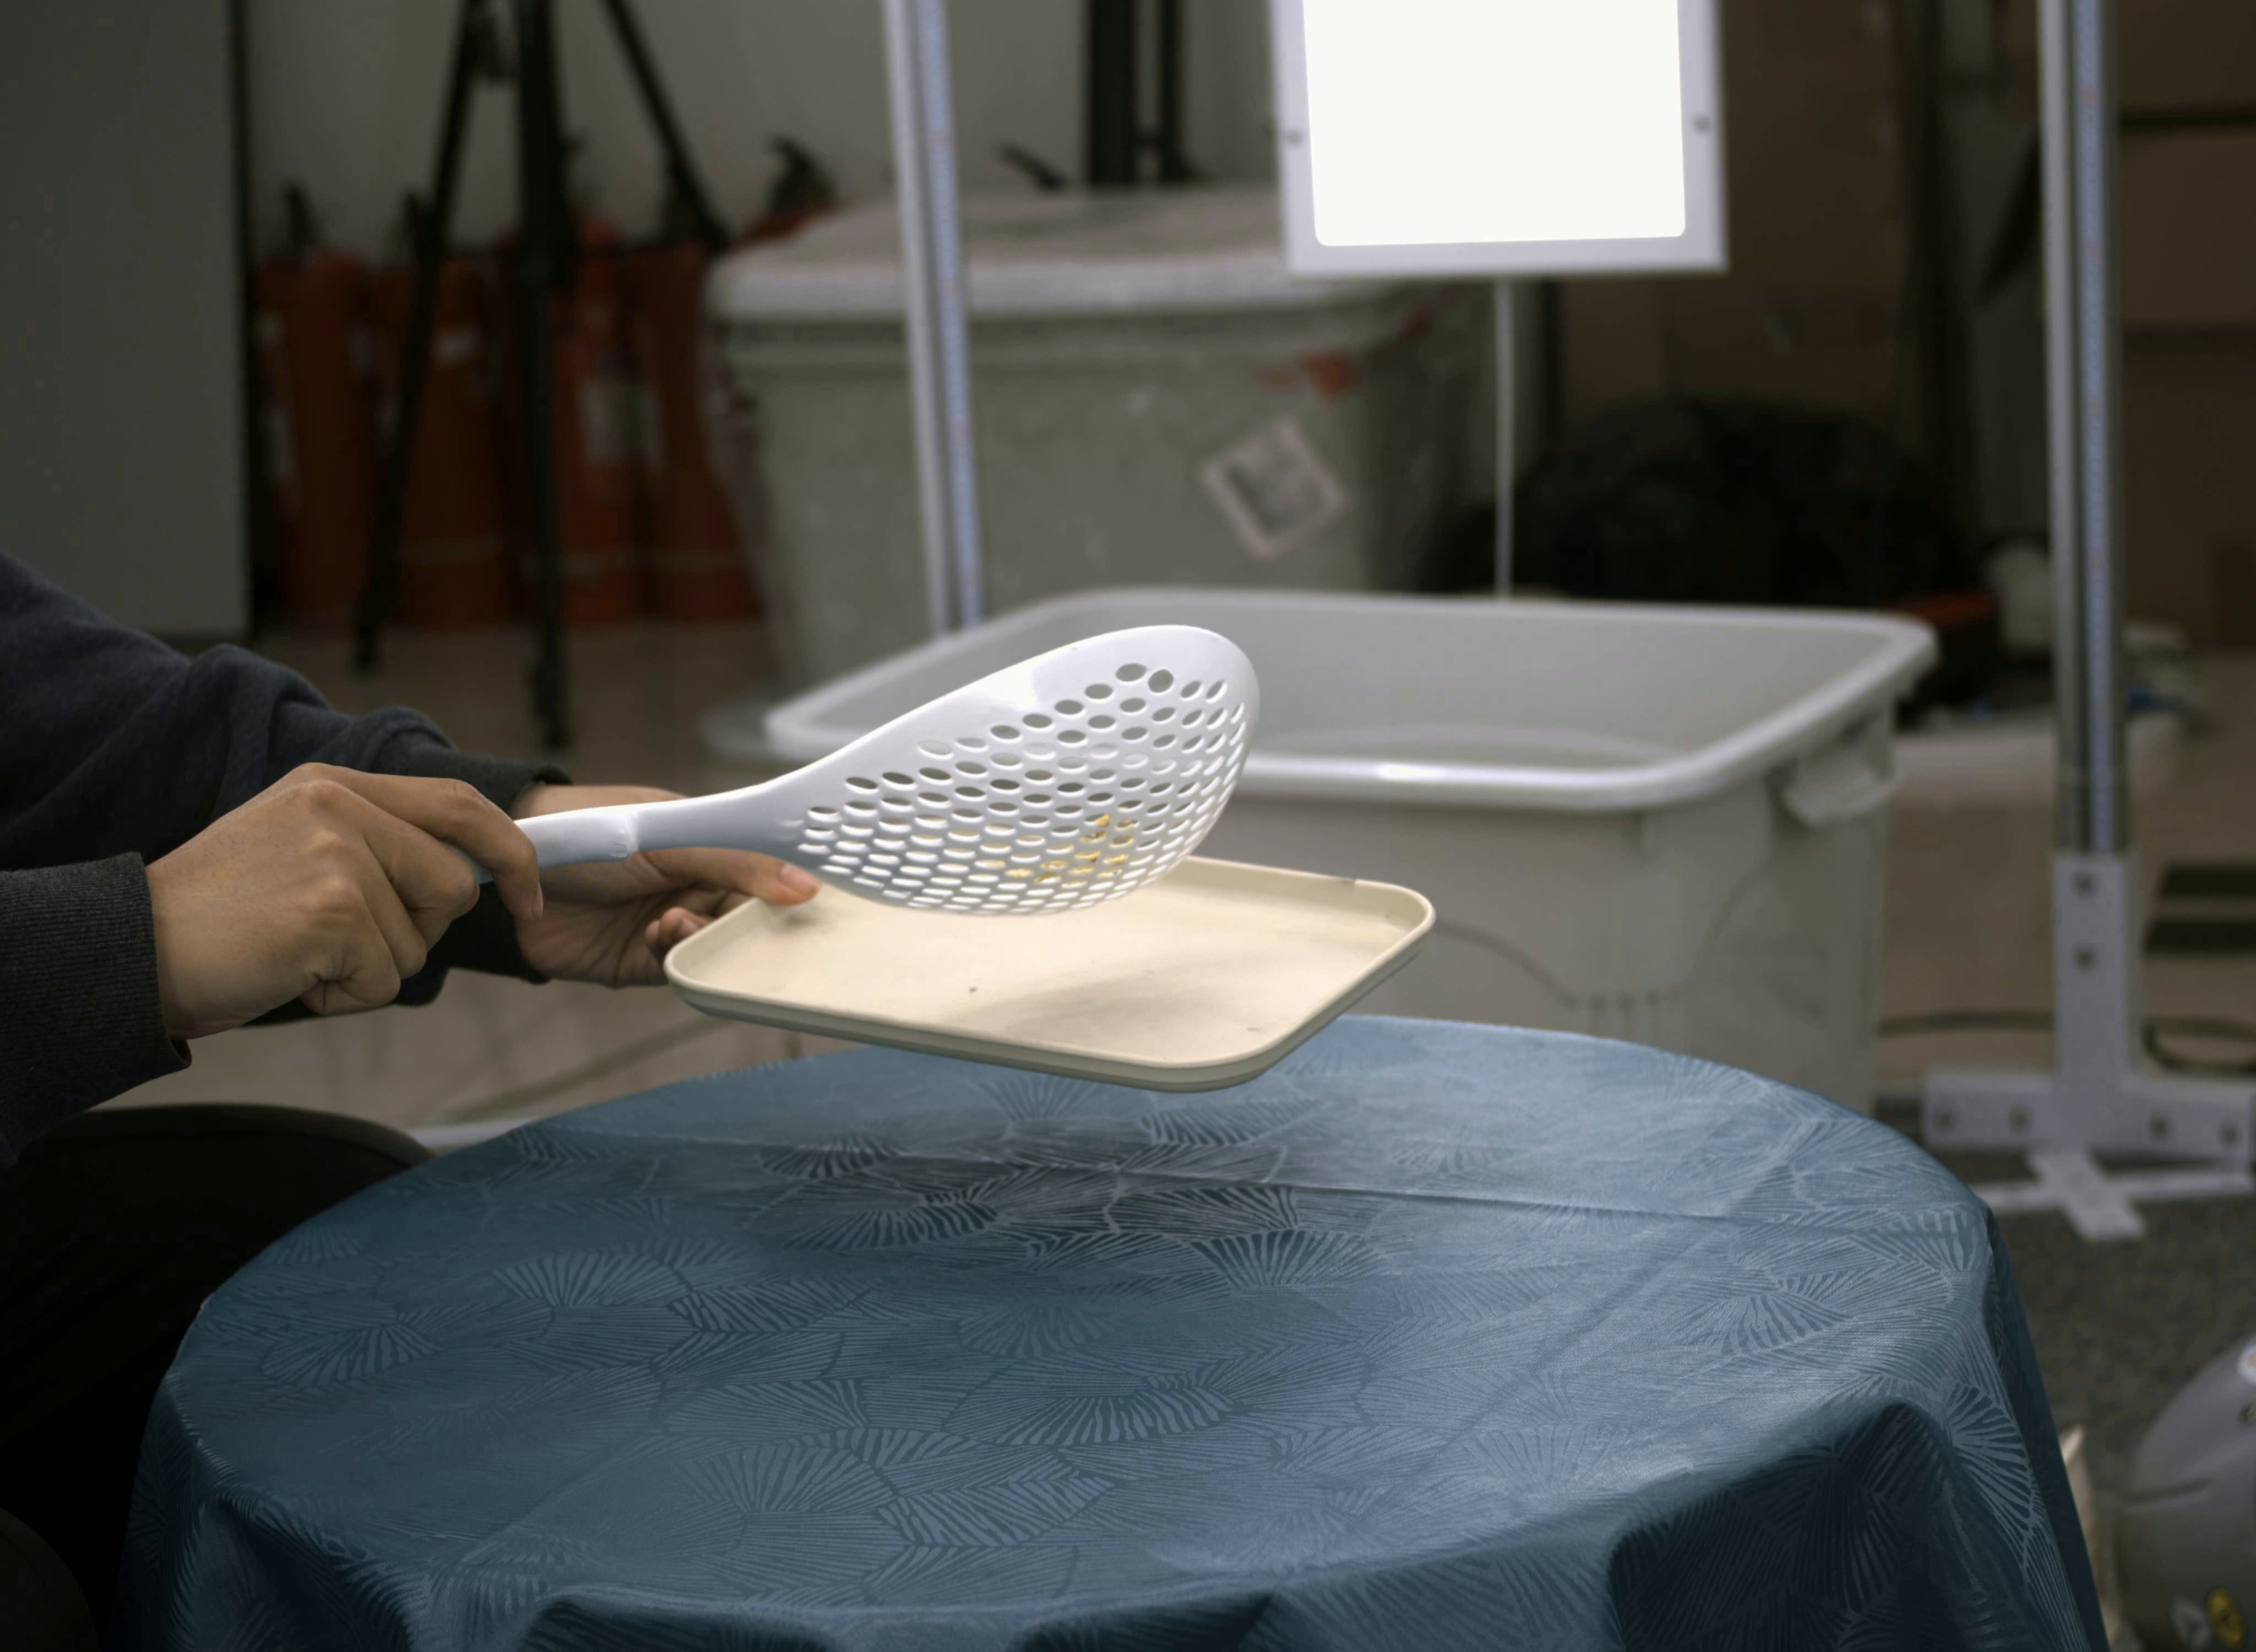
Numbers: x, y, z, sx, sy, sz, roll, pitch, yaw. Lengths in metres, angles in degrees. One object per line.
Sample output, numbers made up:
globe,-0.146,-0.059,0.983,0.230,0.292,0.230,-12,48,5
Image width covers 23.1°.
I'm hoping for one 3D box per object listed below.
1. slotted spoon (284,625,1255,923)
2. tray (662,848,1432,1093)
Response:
slotted spoon,-0.111,0.002,1.779,0.341,0.139,0.050,-3,49,-23
tray,-0.028,0.044,1.903,0.244,0.017,0.167,8,25,31
